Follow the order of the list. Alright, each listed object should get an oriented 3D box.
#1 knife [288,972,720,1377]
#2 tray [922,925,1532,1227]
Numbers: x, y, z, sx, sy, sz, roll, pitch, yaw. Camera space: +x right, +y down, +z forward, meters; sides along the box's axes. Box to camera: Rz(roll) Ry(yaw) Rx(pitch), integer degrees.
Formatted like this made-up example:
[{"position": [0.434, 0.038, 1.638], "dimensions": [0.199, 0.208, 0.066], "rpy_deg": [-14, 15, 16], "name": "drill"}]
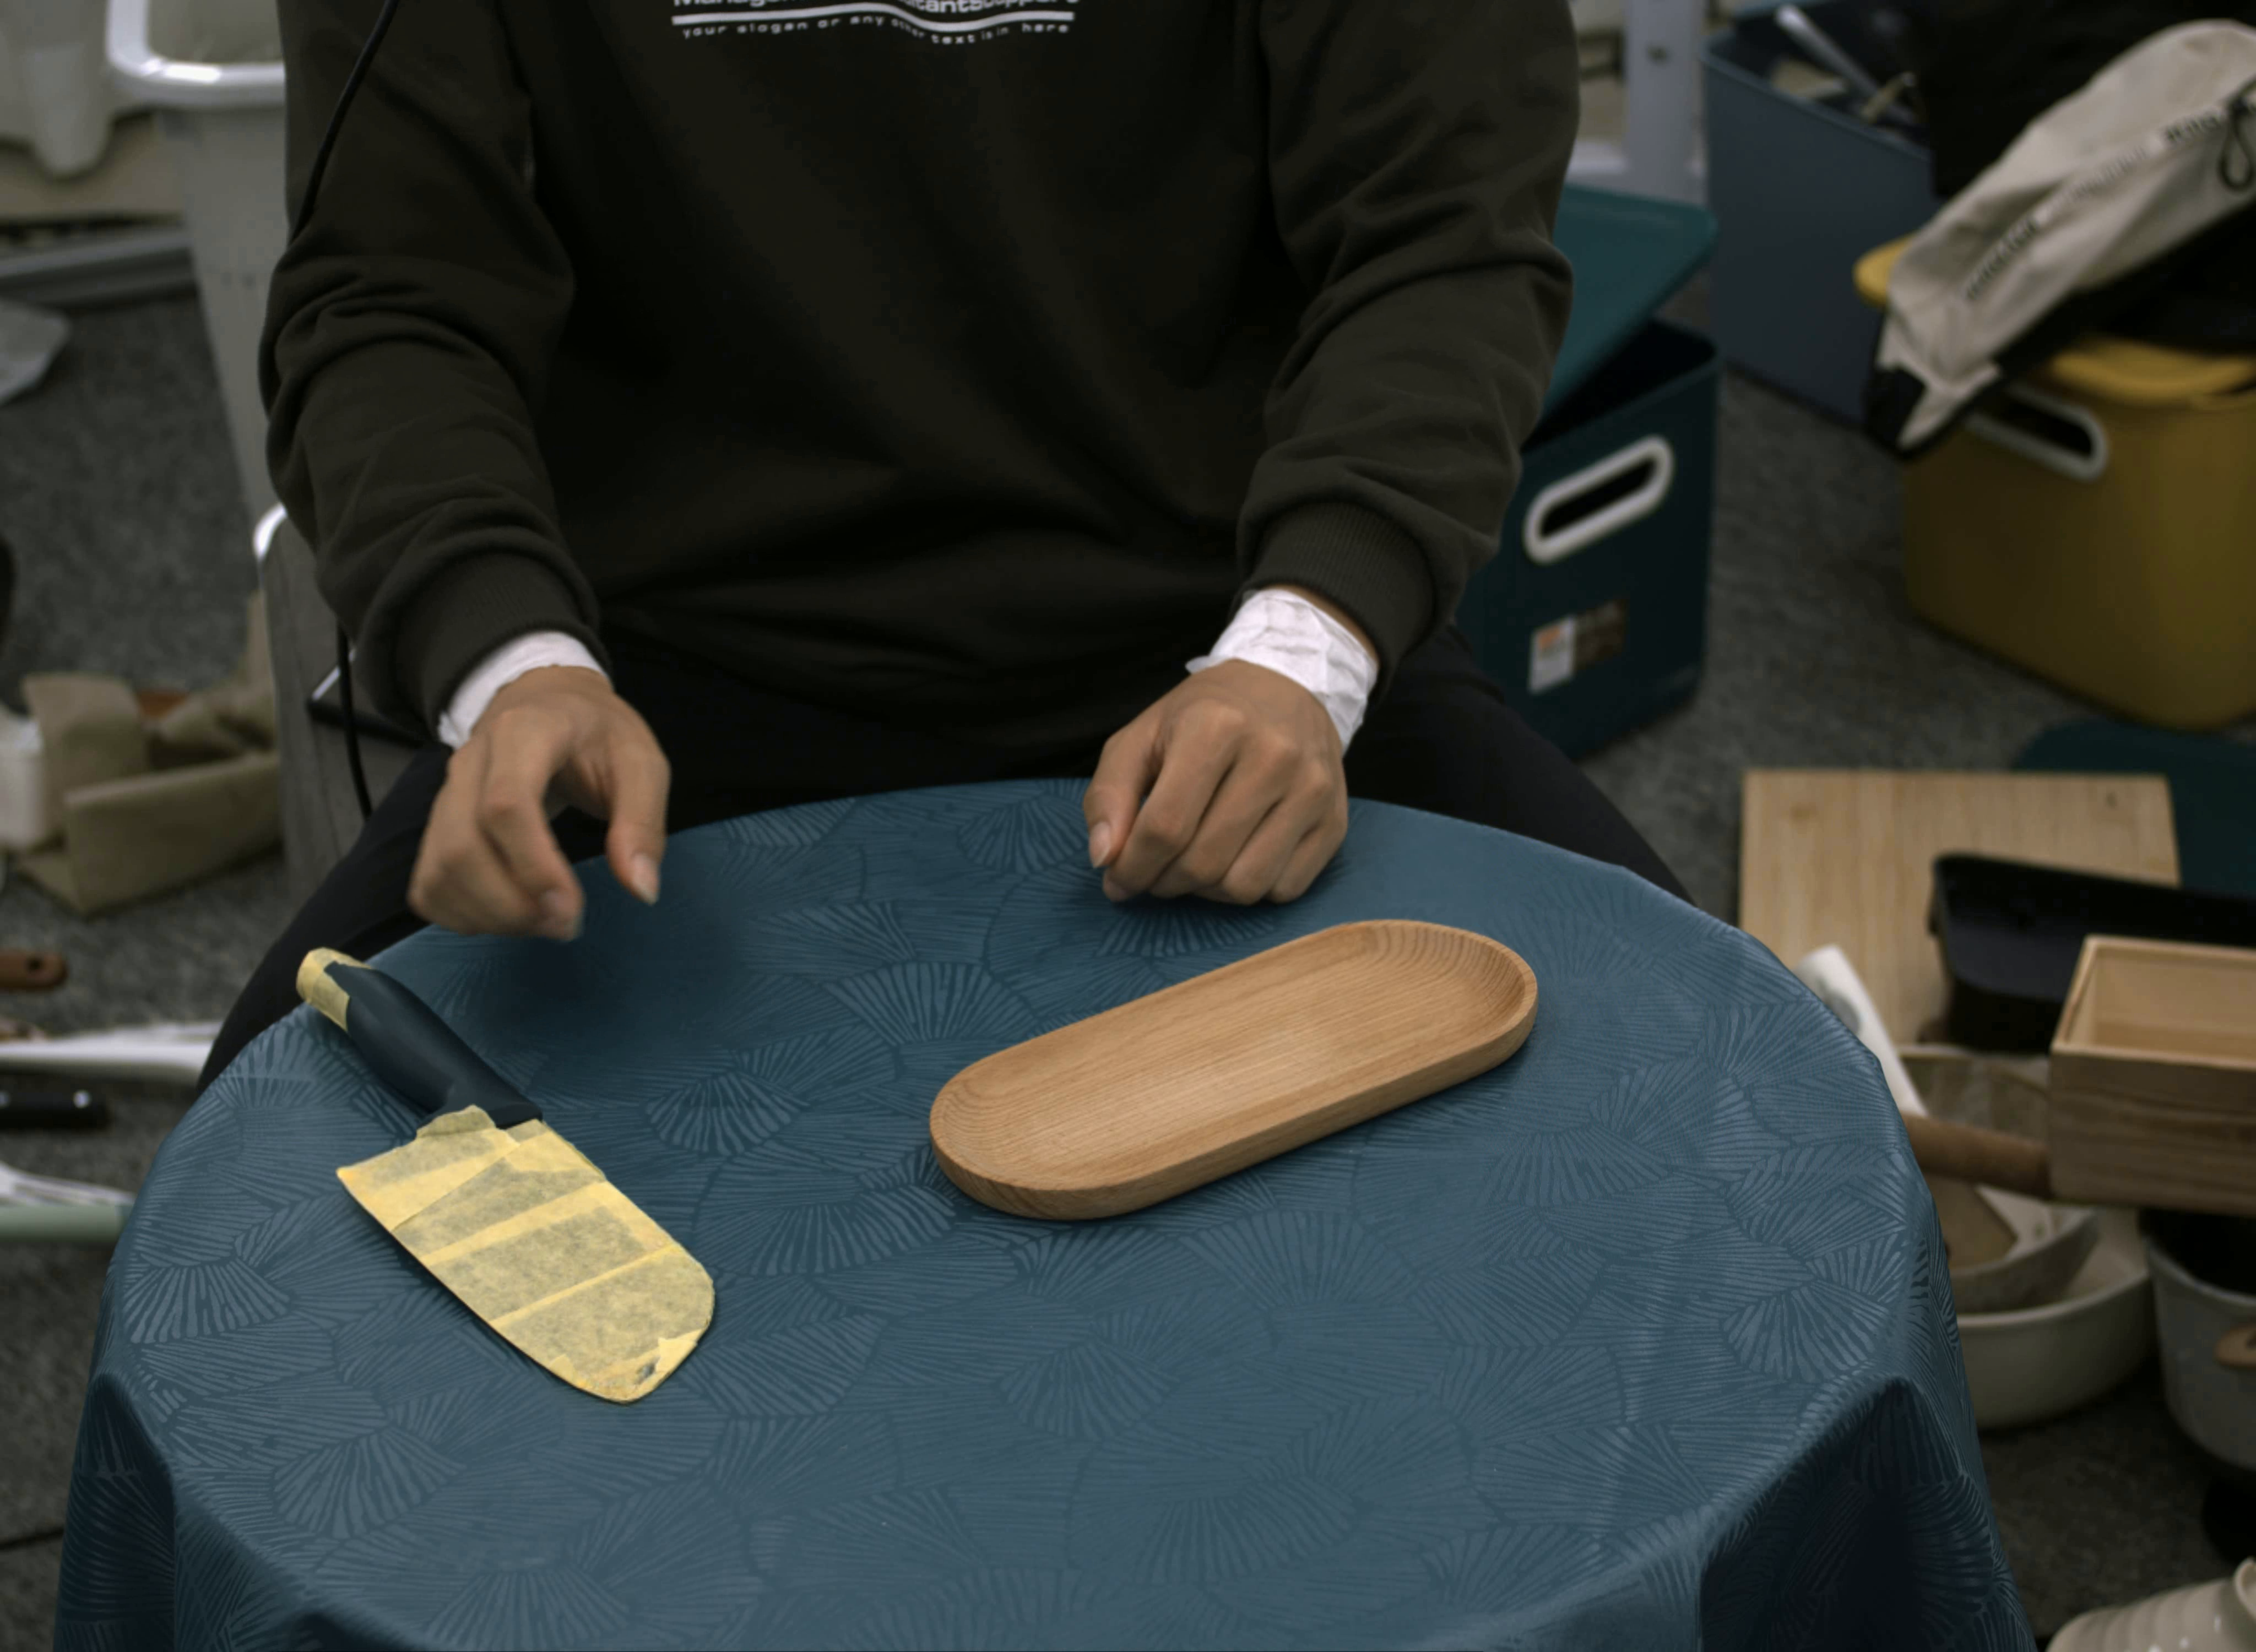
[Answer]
[{"position": [-0.221, 0.117, 1.875], "dimensions": [0.081, 0.027, 0.290], "rpy_deg": [-16, 31, -28], "name": "knife"}, {"position": [0.035, 0.084, 1.913], "dimensions": [0.233, 0.020, 0.102], "rpy_deg": [-21, 31, -29], "name": "tray"}]
